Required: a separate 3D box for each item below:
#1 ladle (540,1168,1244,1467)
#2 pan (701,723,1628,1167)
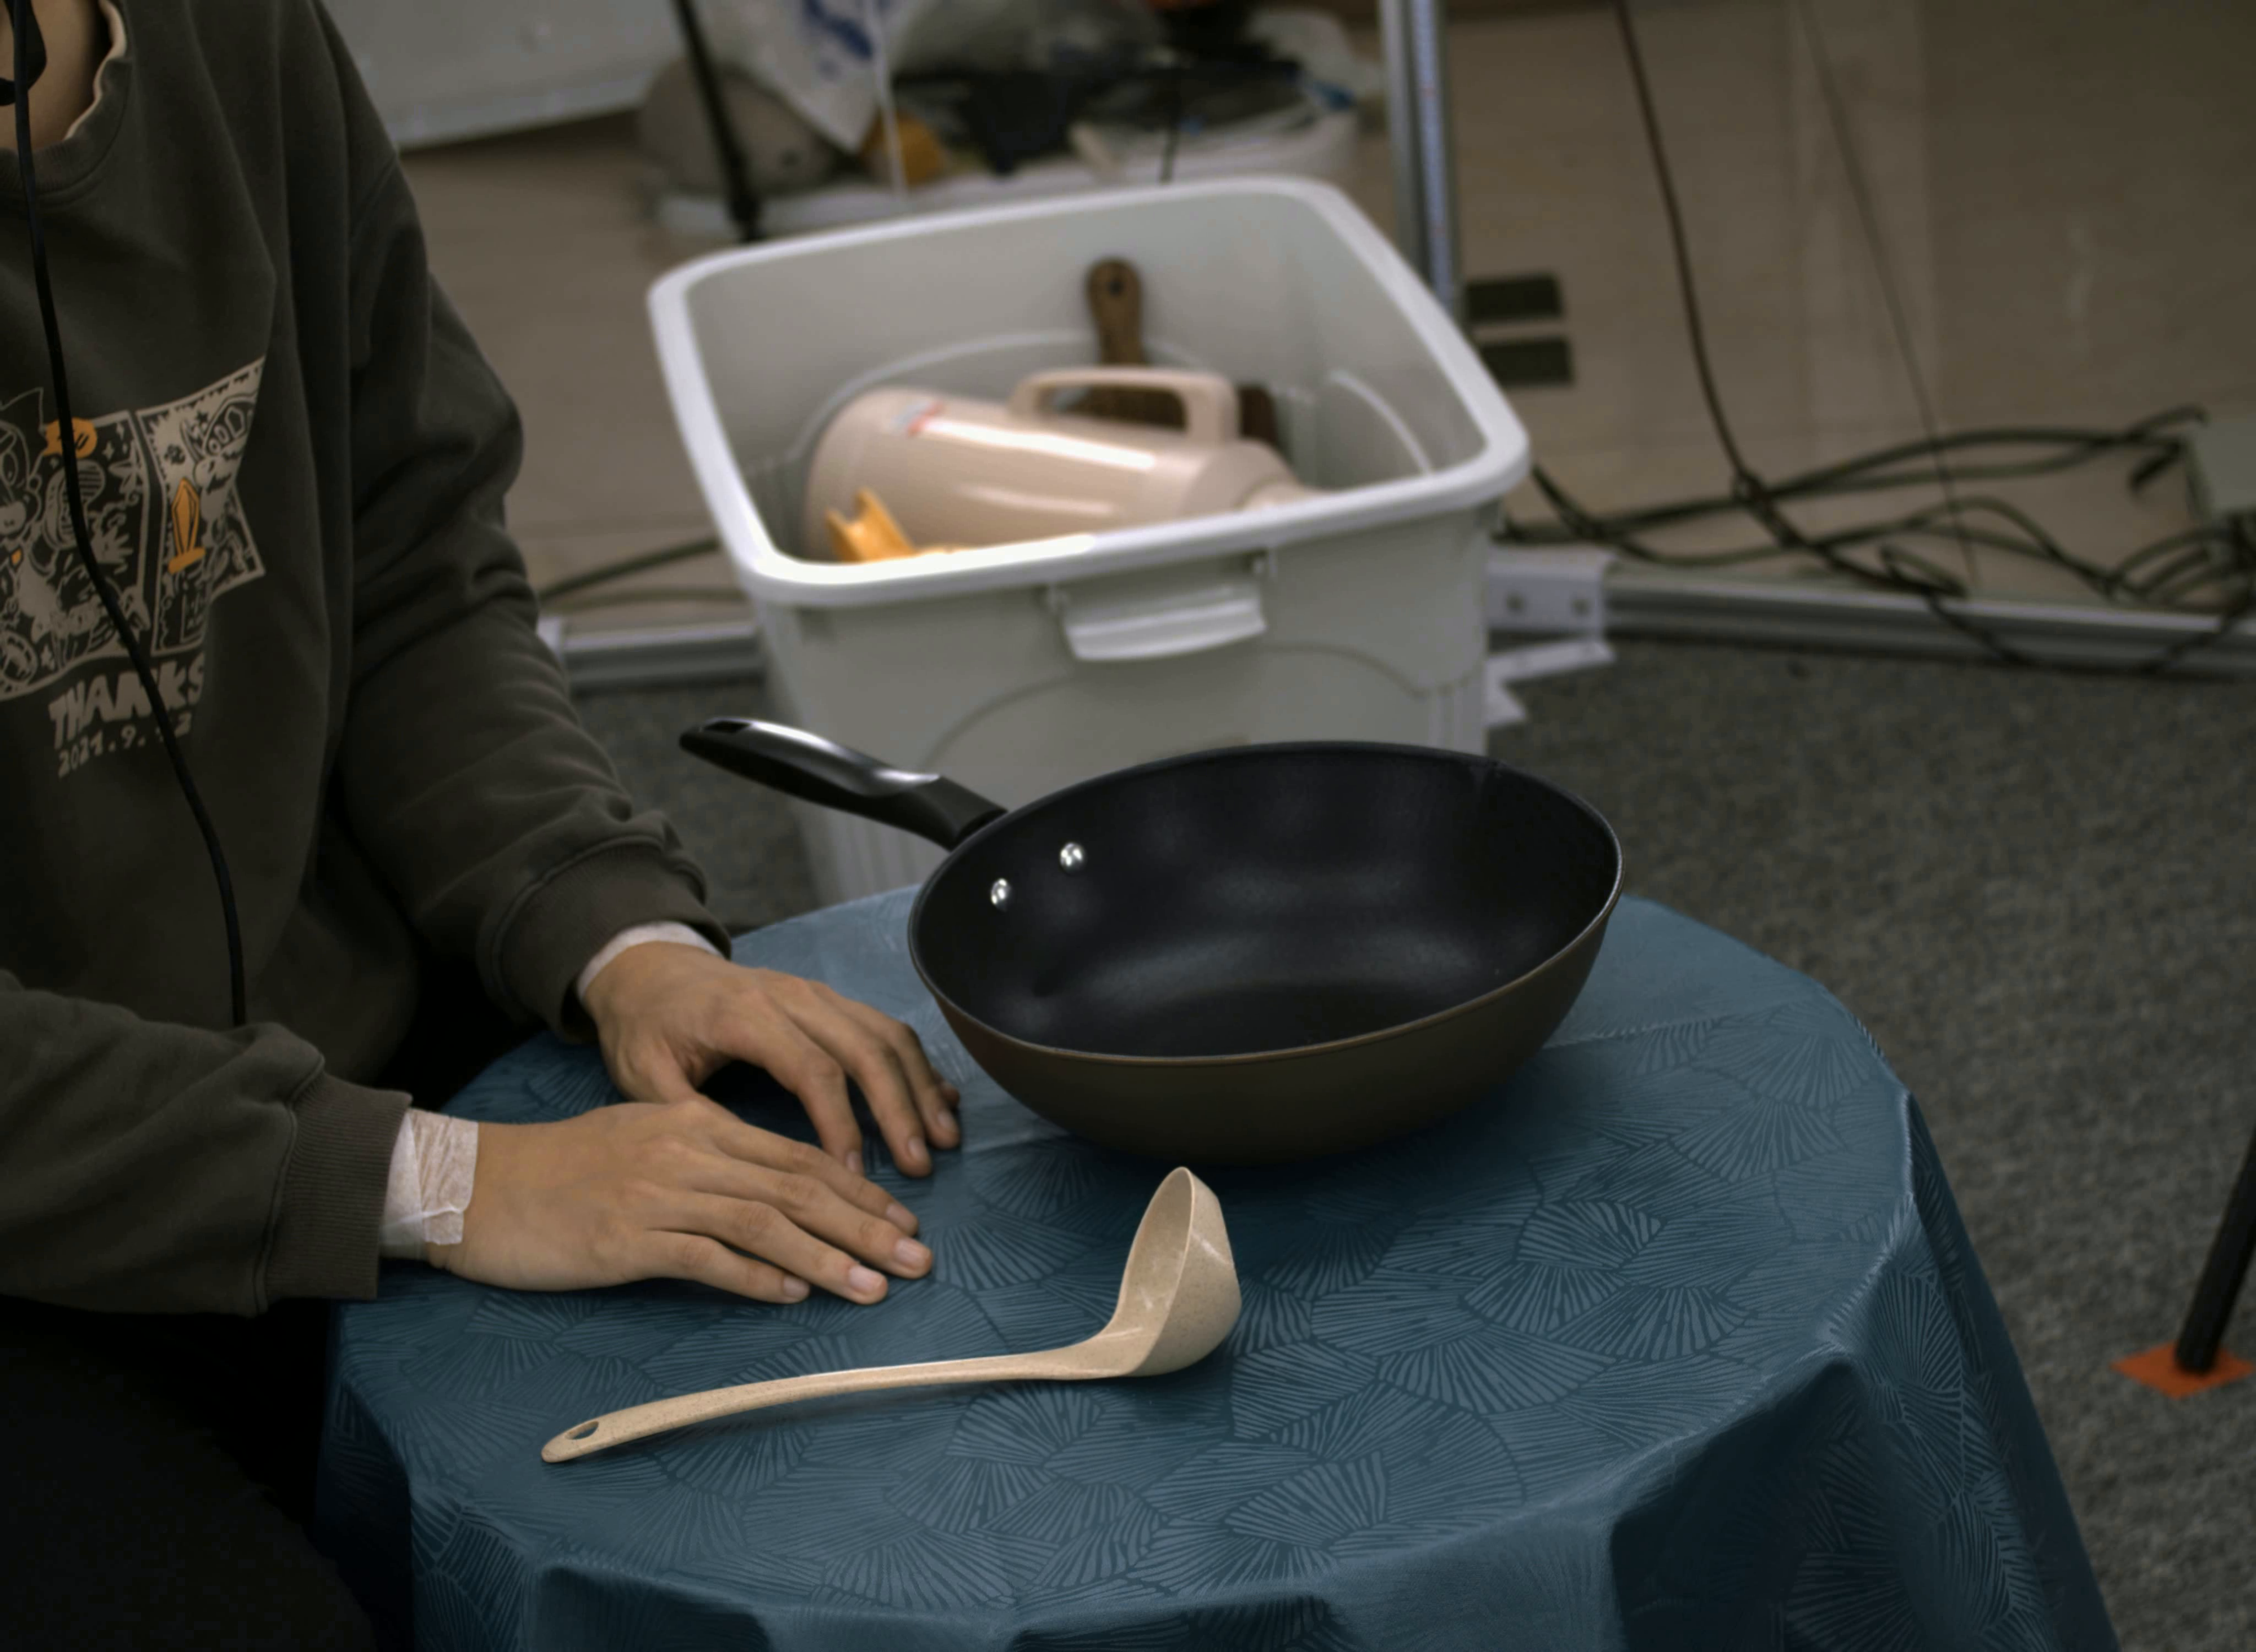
[{"bbox_3d":[-0.086,0.173,2.006,0.254,0.074,0.071,-8,27,-6],"label":"ladle"},{"bbox_3d":[-0.010,0.041,2.260,0.460,0.088,0.285,16,33,41],"label":"pan"}]
